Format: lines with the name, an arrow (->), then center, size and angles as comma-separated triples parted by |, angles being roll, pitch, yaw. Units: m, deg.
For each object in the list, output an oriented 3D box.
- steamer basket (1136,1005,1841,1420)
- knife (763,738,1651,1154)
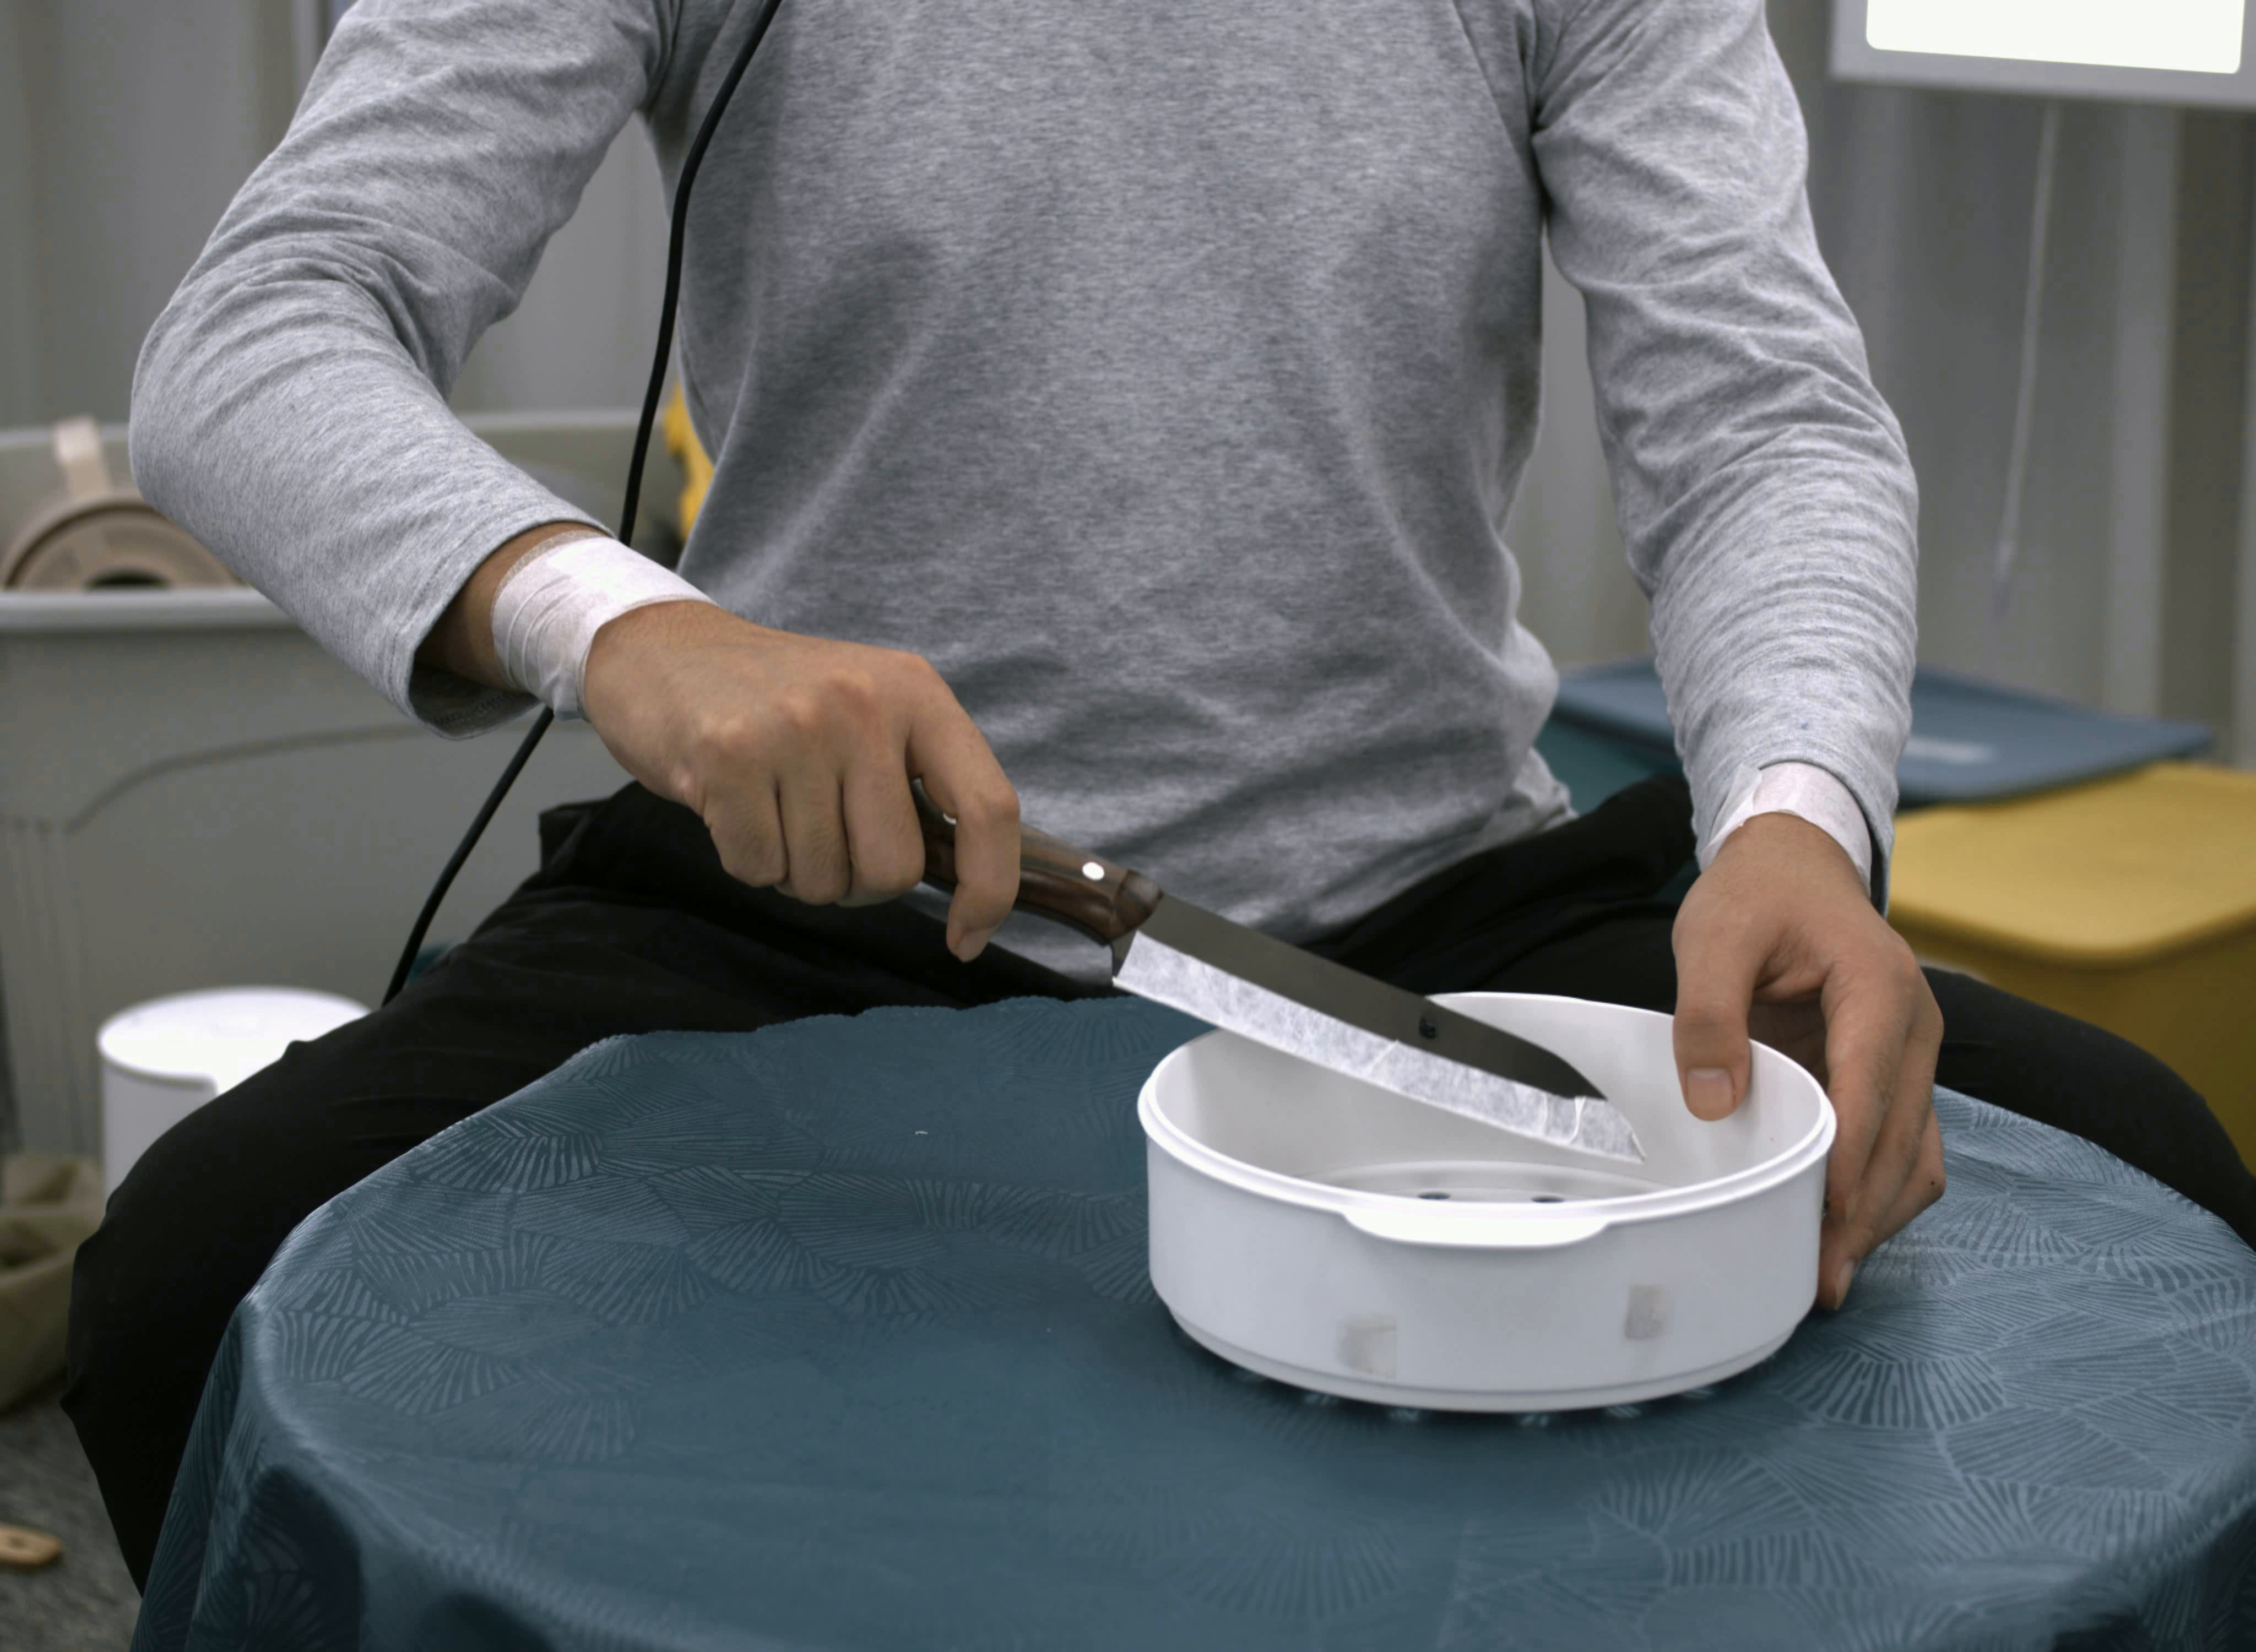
steamer basket -> 0.102, 0.110, 1.513 | 0.201, 0.070, 0.230 | 2, 14, 5
knife -> 0.022, 0.038, 1.560 | 0.288, 0.020, 0.050 | 23, 45, 1
